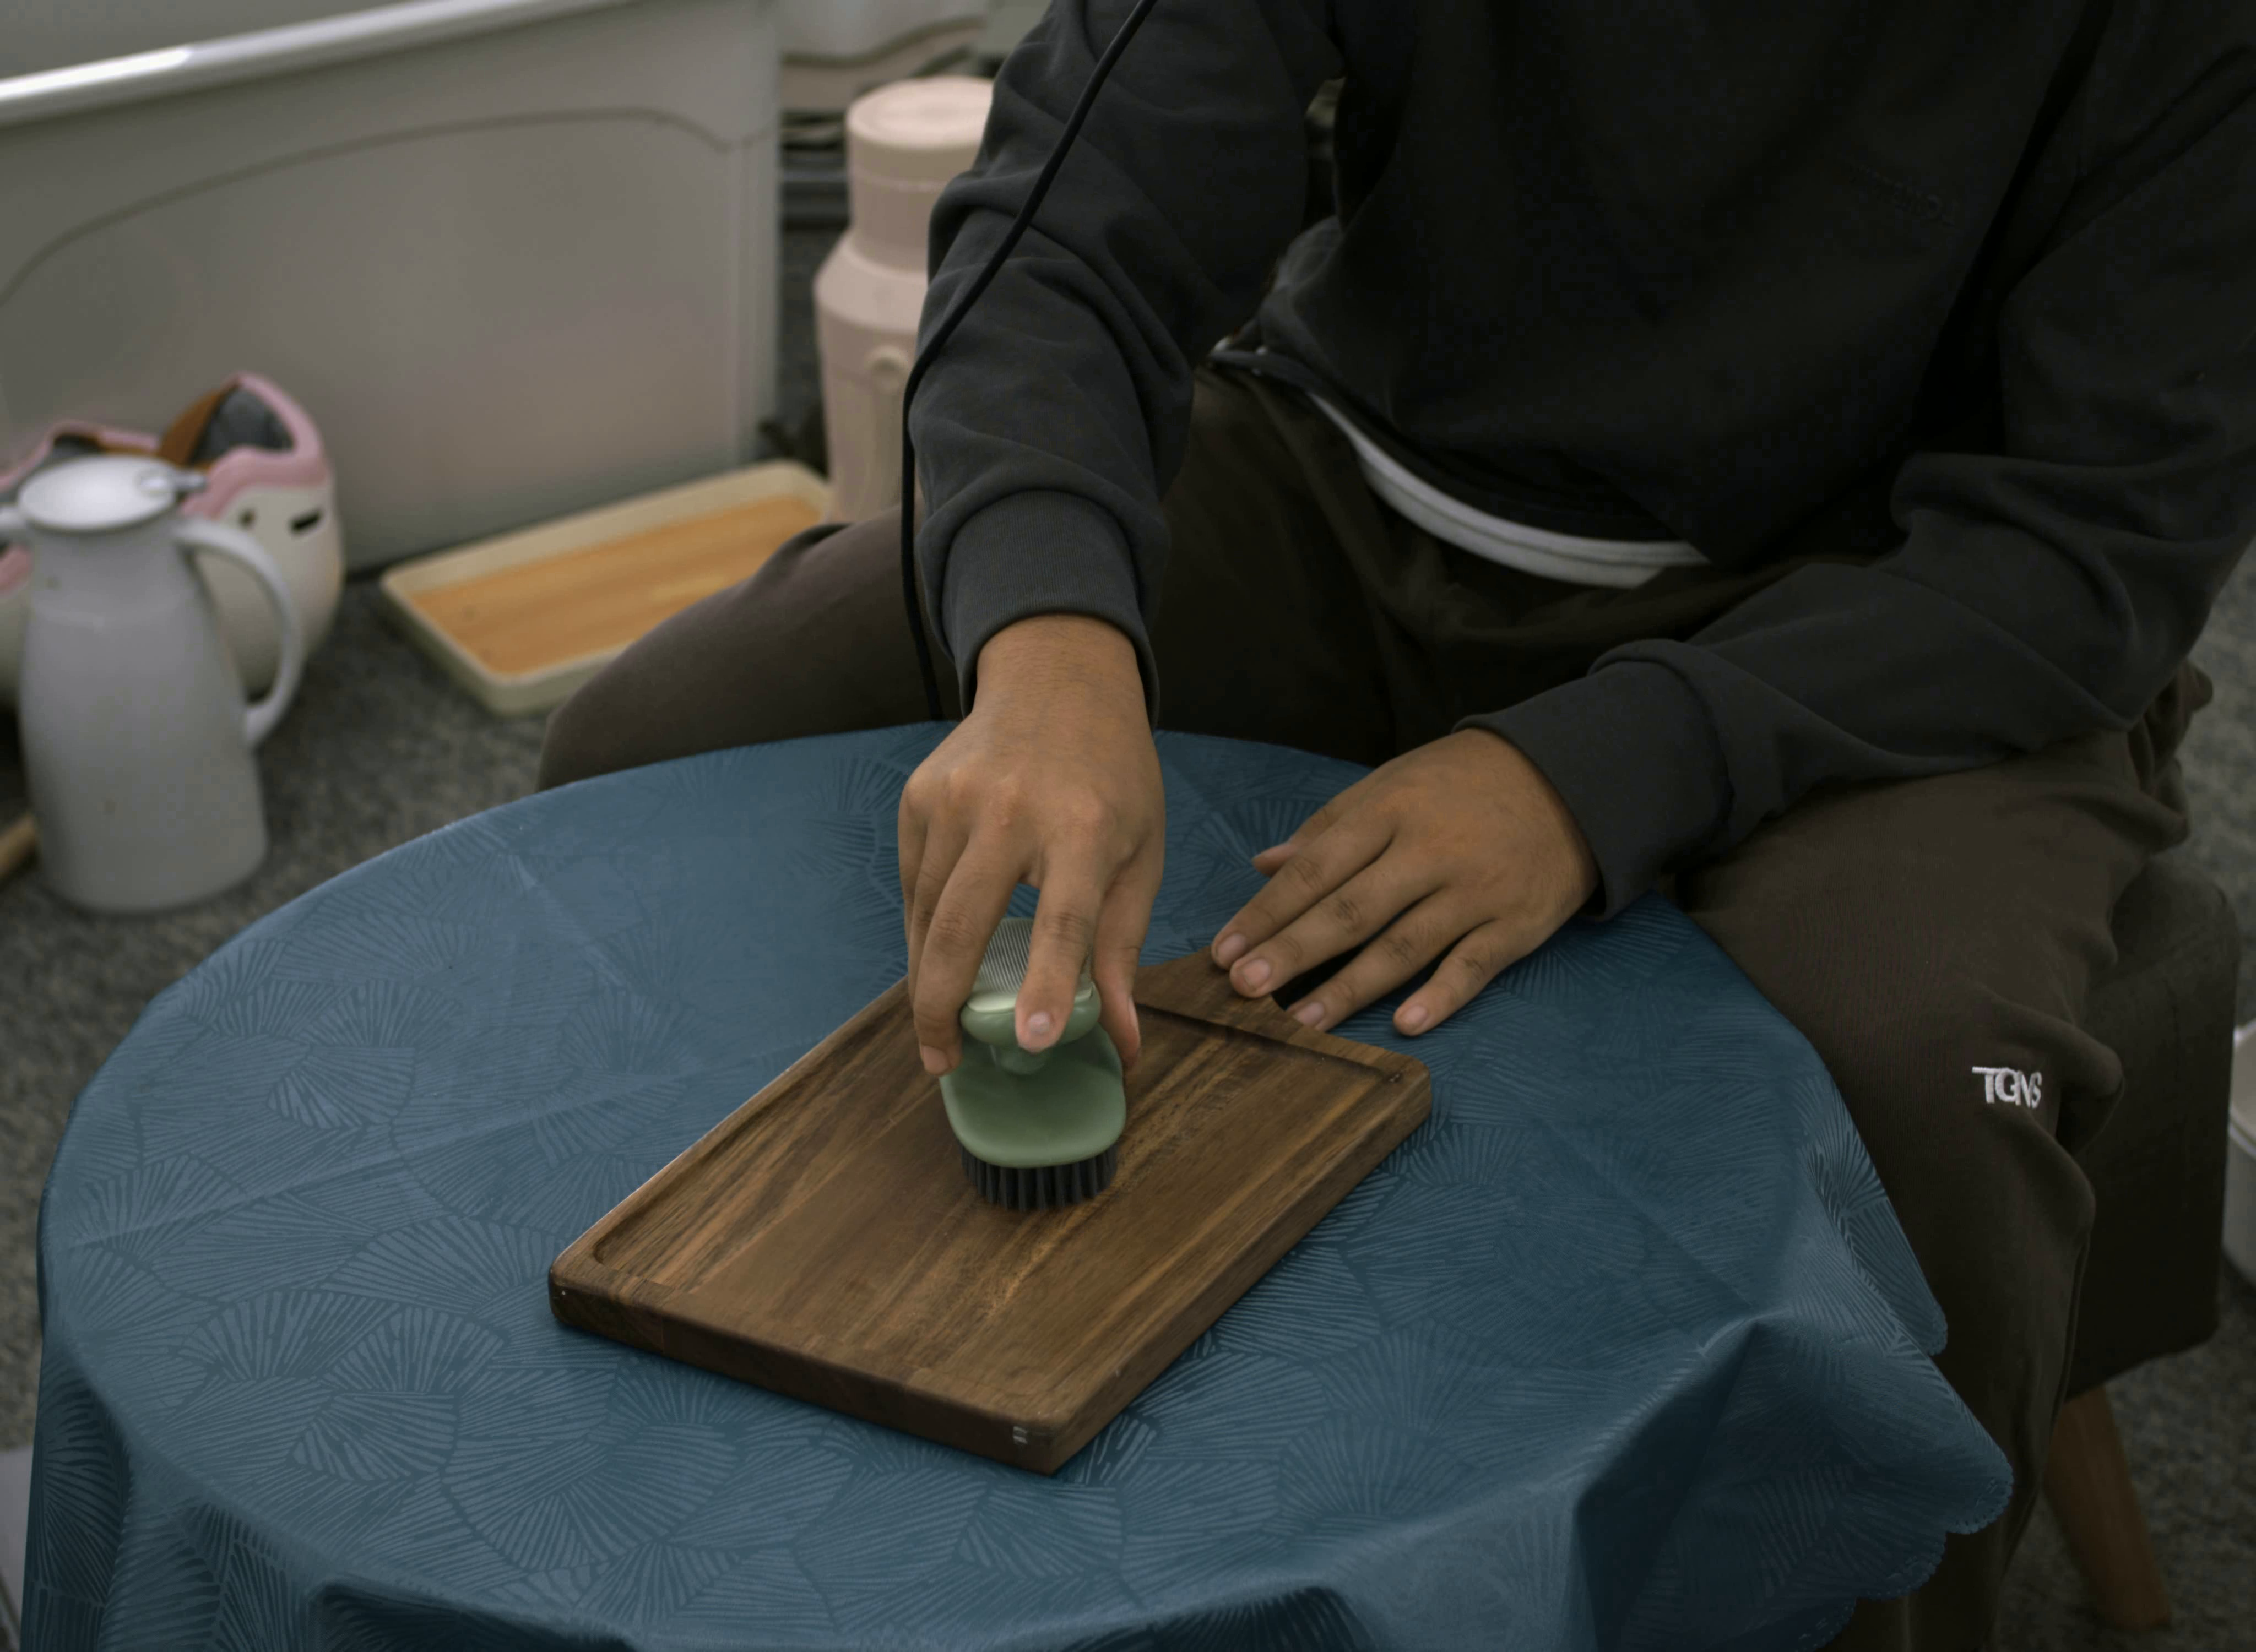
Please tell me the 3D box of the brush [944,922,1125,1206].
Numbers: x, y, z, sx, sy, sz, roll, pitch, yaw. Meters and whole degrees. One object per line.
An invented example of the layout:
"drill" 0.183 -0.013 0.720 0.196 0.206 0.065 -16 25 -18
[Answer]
"brush" -0.031 0.077 1.868 0.059 0.075 0.123 -2 11 -4

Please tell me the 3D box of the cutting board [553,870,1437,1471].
"cutting board" -0.014 0.099 1.888 0.200 0.023 0.358 14 31 28
